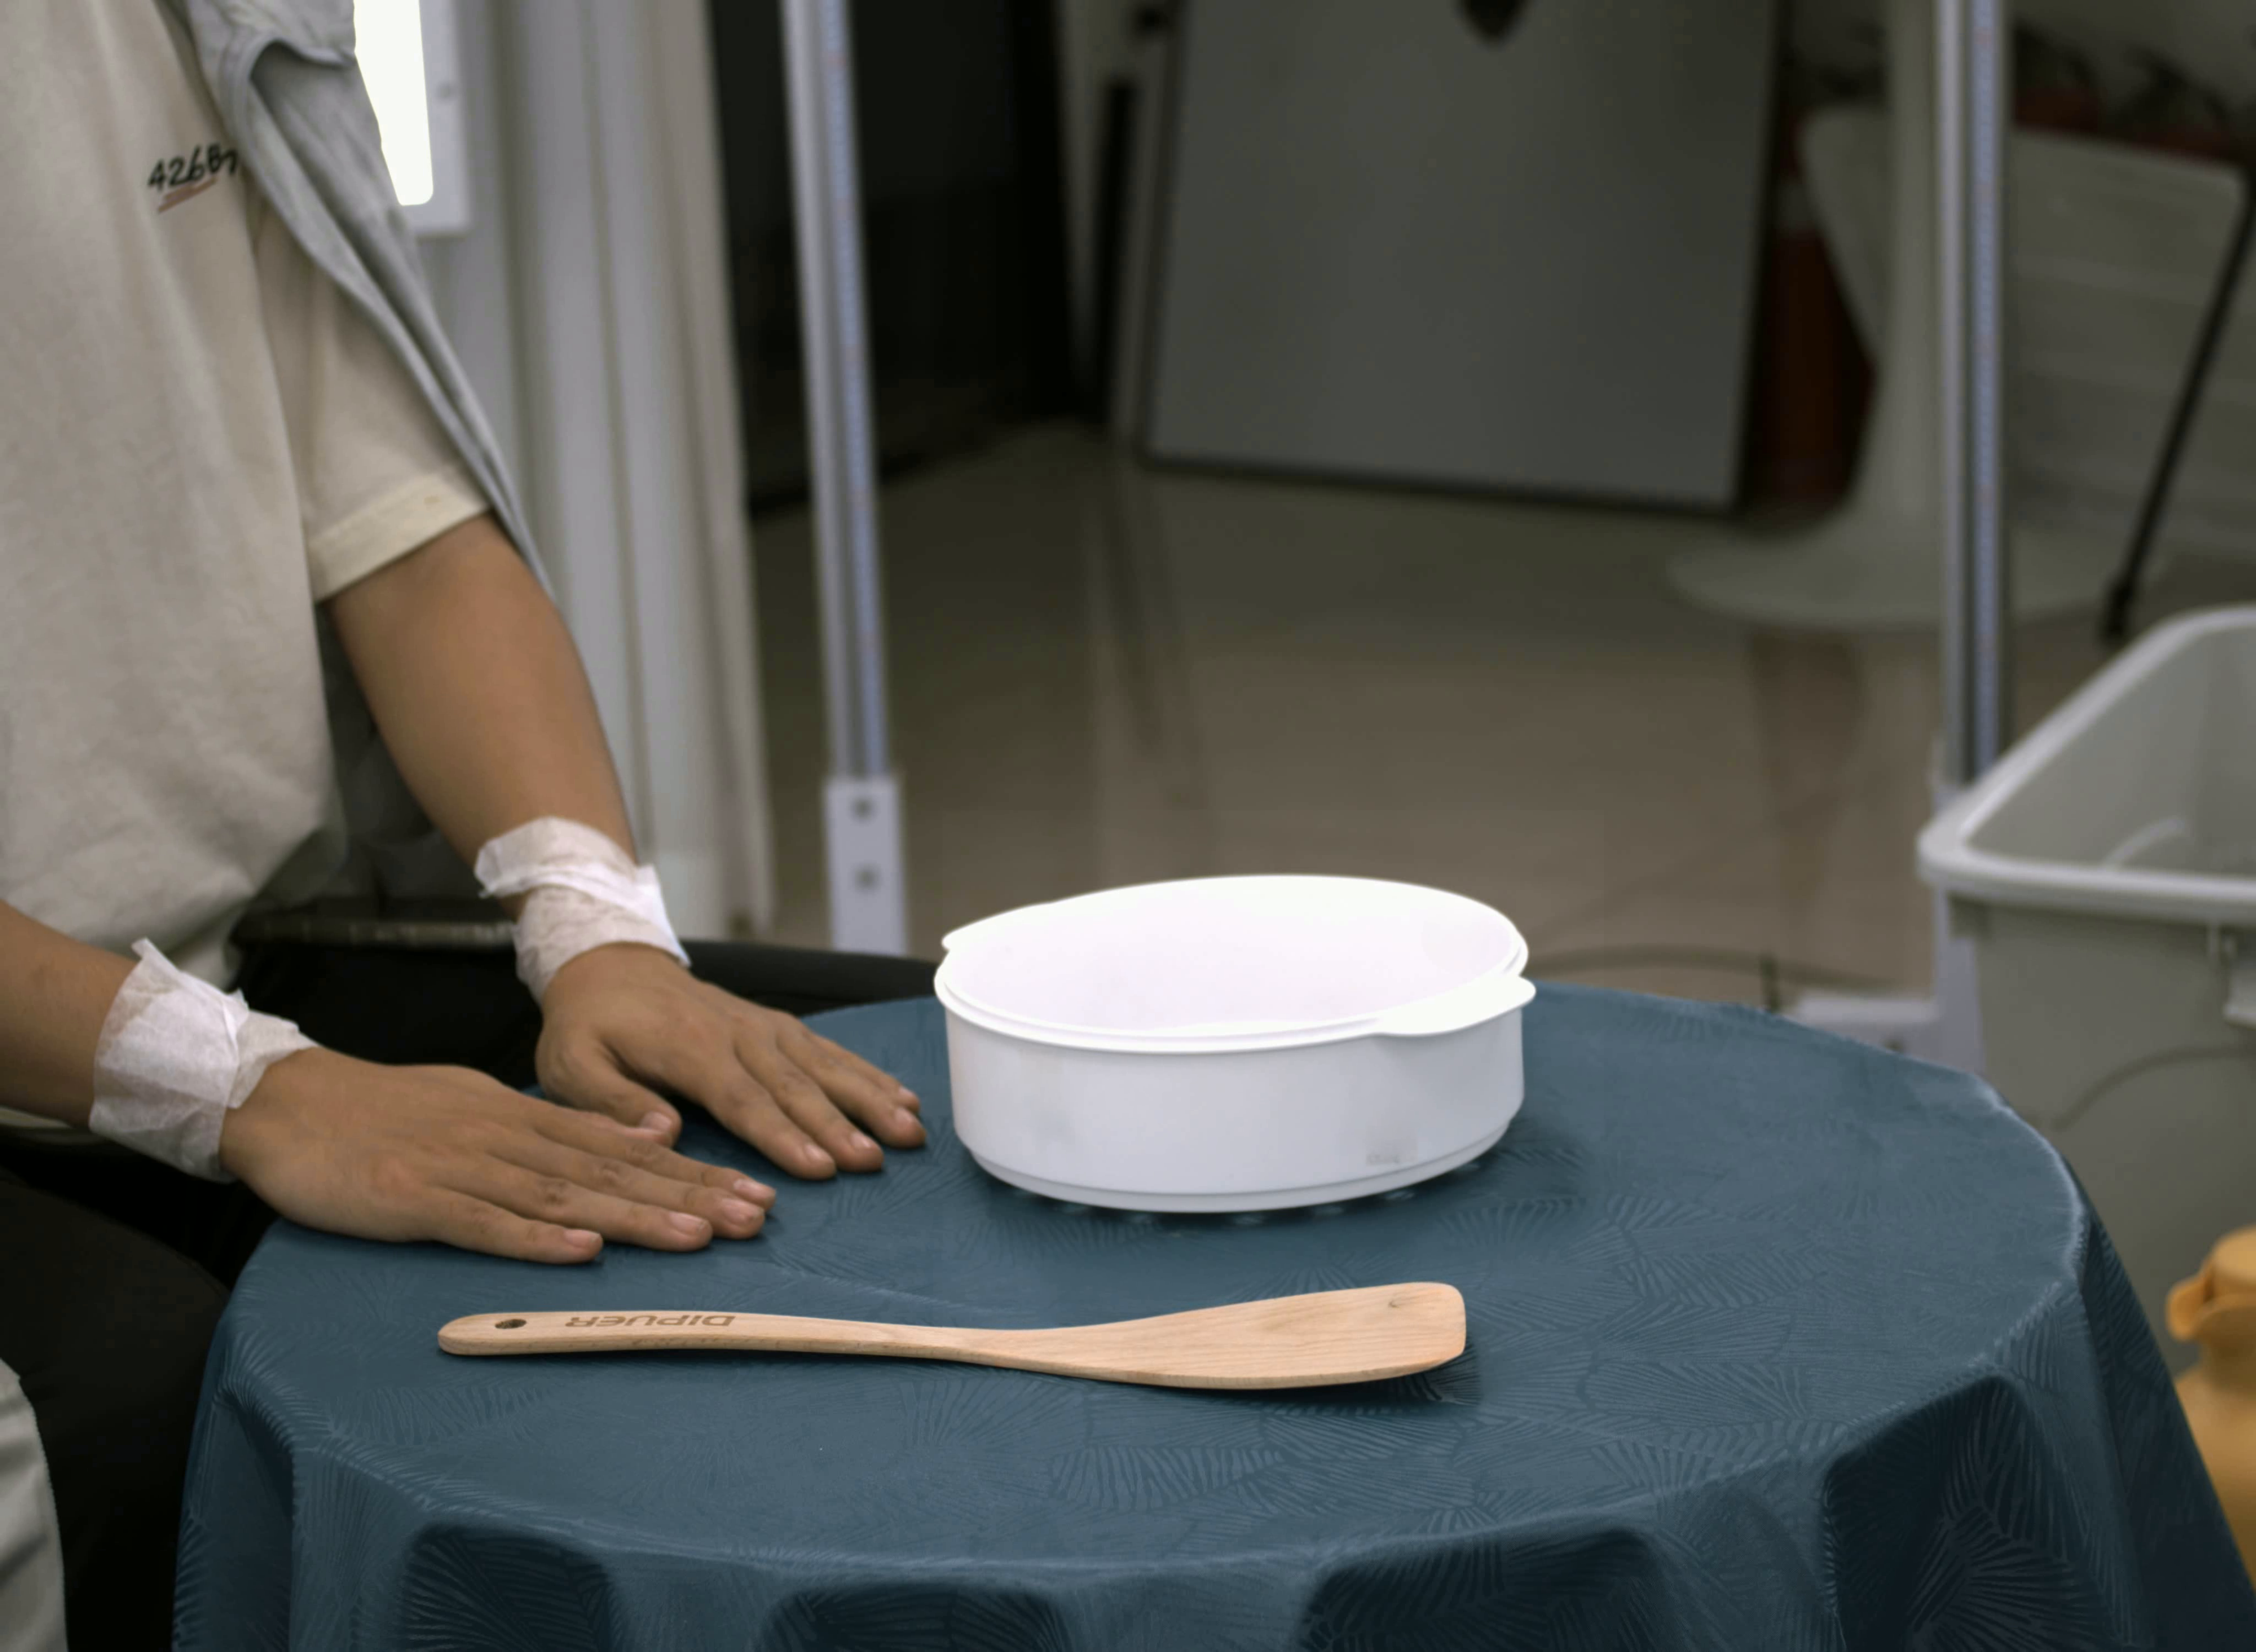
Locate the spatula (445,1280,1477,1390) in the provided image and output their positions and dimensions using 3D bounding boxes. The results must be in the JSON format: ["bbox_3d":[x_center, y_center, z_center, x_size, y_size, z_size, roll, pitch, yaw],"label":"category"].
[{"bbox_3d":[-0.051,0.153,1.625,0.326,0.017,0.079,-1,13,14],"label":"spatula"}]

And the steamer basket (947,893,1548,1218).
[{"bbox_3d":[0.040,0.077,1.808,0.232,0.070,0.198,8,16,43],"label":"steamer basket"}]
